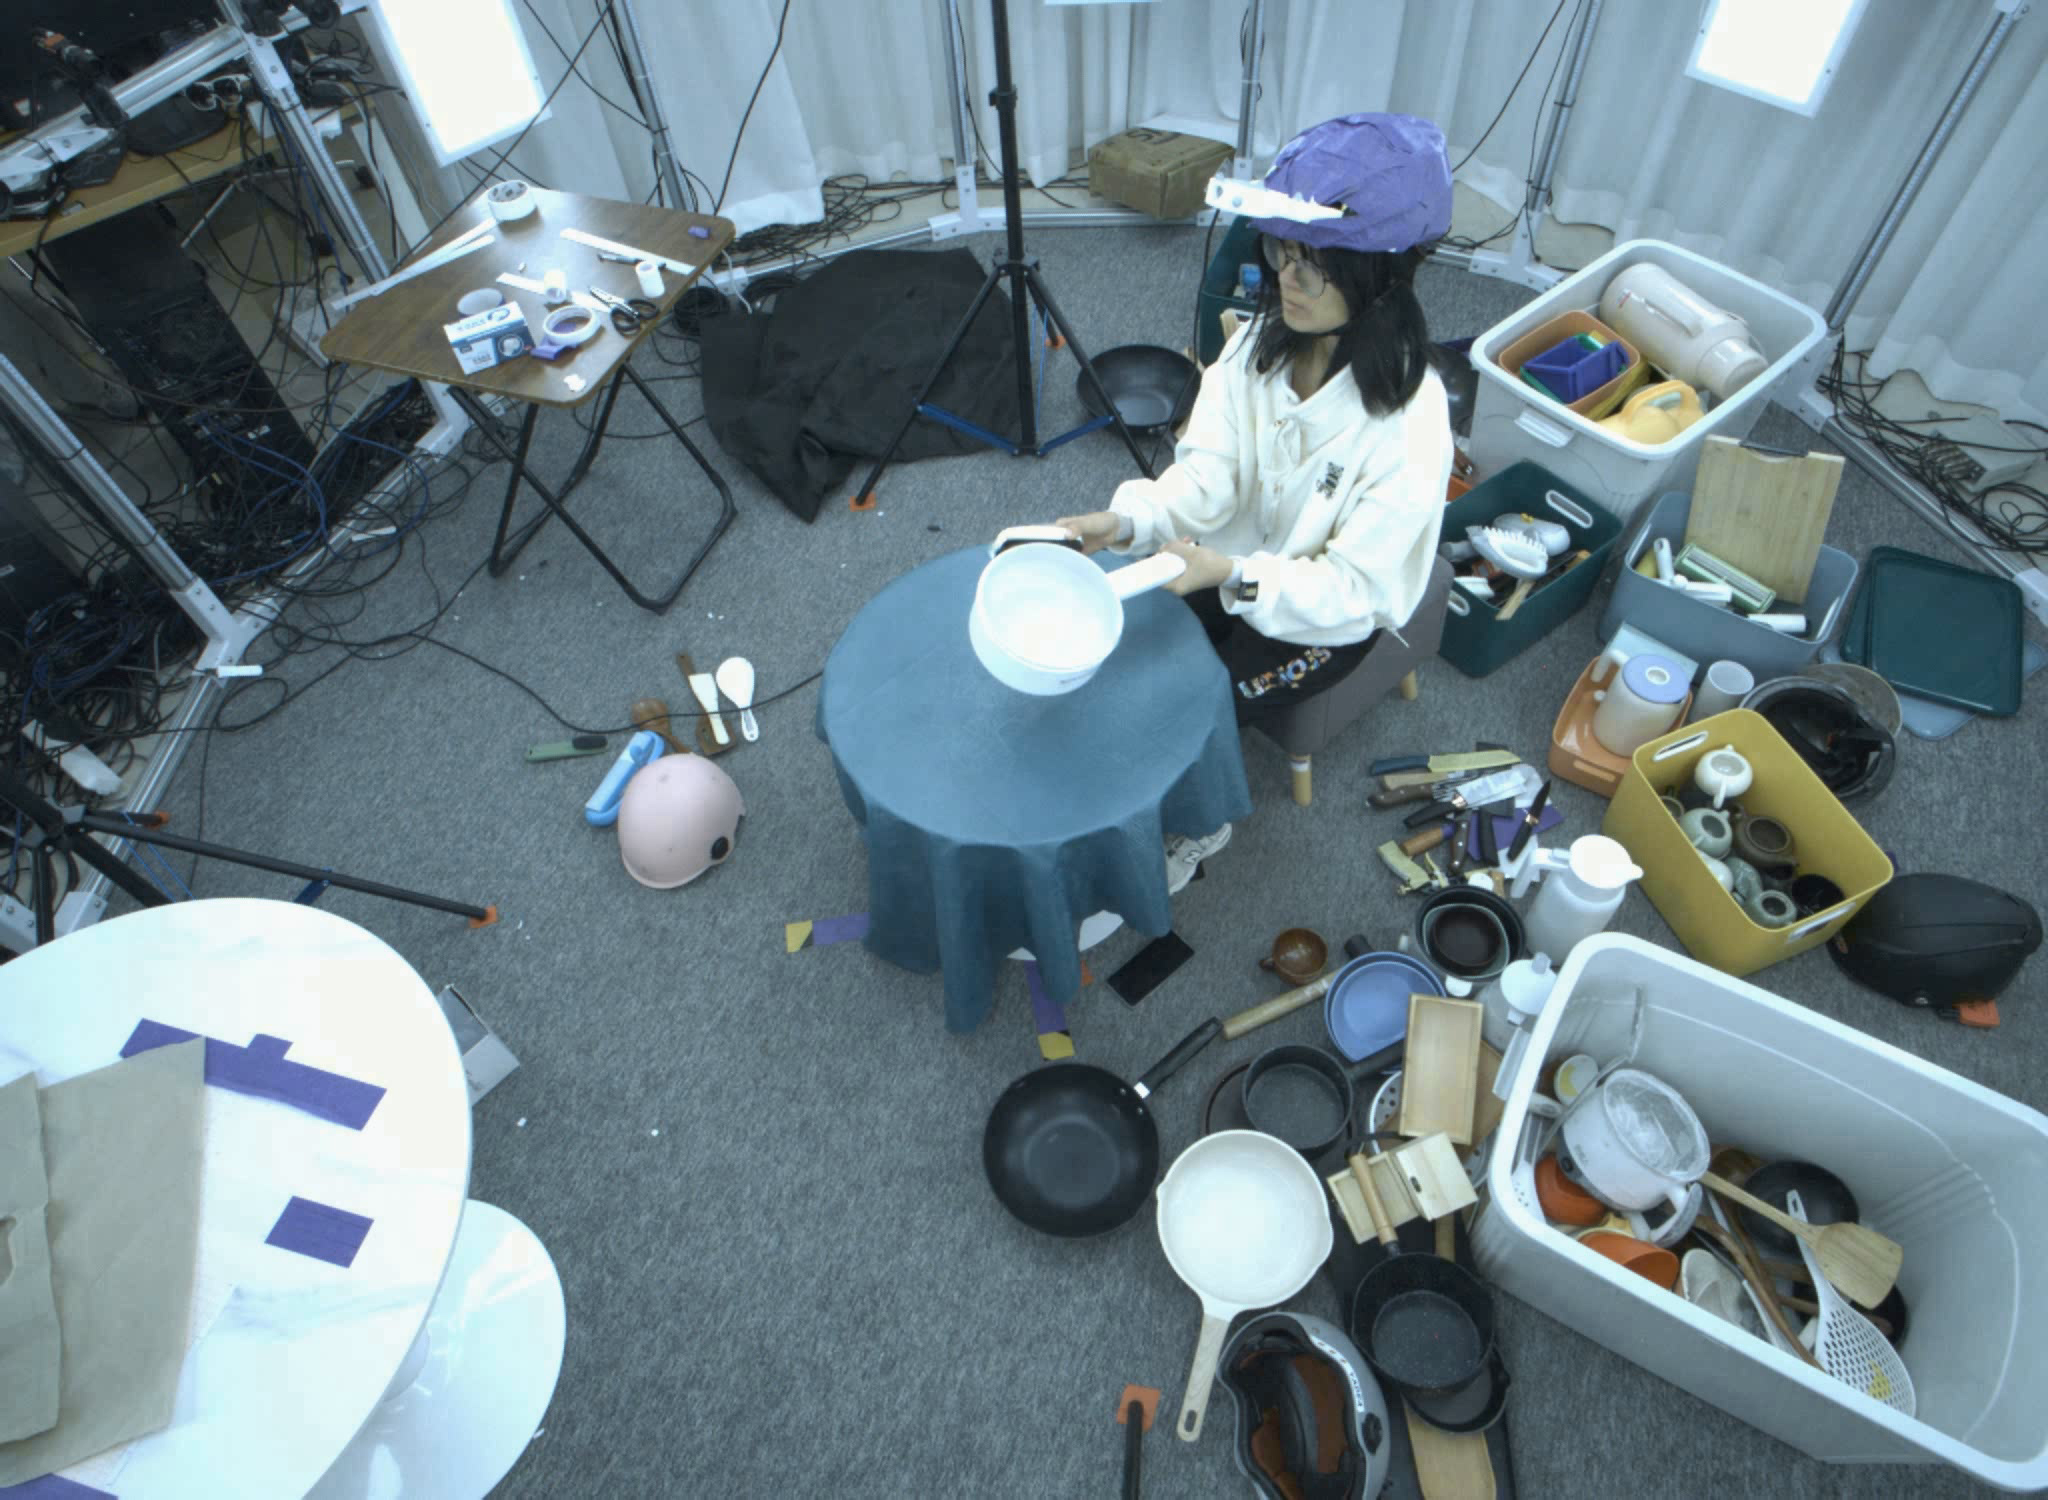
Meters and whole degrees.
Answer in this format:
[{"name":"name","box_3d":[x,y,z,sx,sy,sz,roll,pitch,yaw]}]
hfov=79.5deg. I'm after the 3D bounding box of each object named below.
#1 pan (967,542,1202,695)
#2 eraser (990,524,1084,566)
[{"name":"pan","box_3d":[0.086,-0.200,1.708,0.359,0.101,0.199,-23,75,-27]},{"name":"eraser","box_3d":[0.019,-0.283,1.709,0.134,0.063,0.034,-5,66,-30]}]
